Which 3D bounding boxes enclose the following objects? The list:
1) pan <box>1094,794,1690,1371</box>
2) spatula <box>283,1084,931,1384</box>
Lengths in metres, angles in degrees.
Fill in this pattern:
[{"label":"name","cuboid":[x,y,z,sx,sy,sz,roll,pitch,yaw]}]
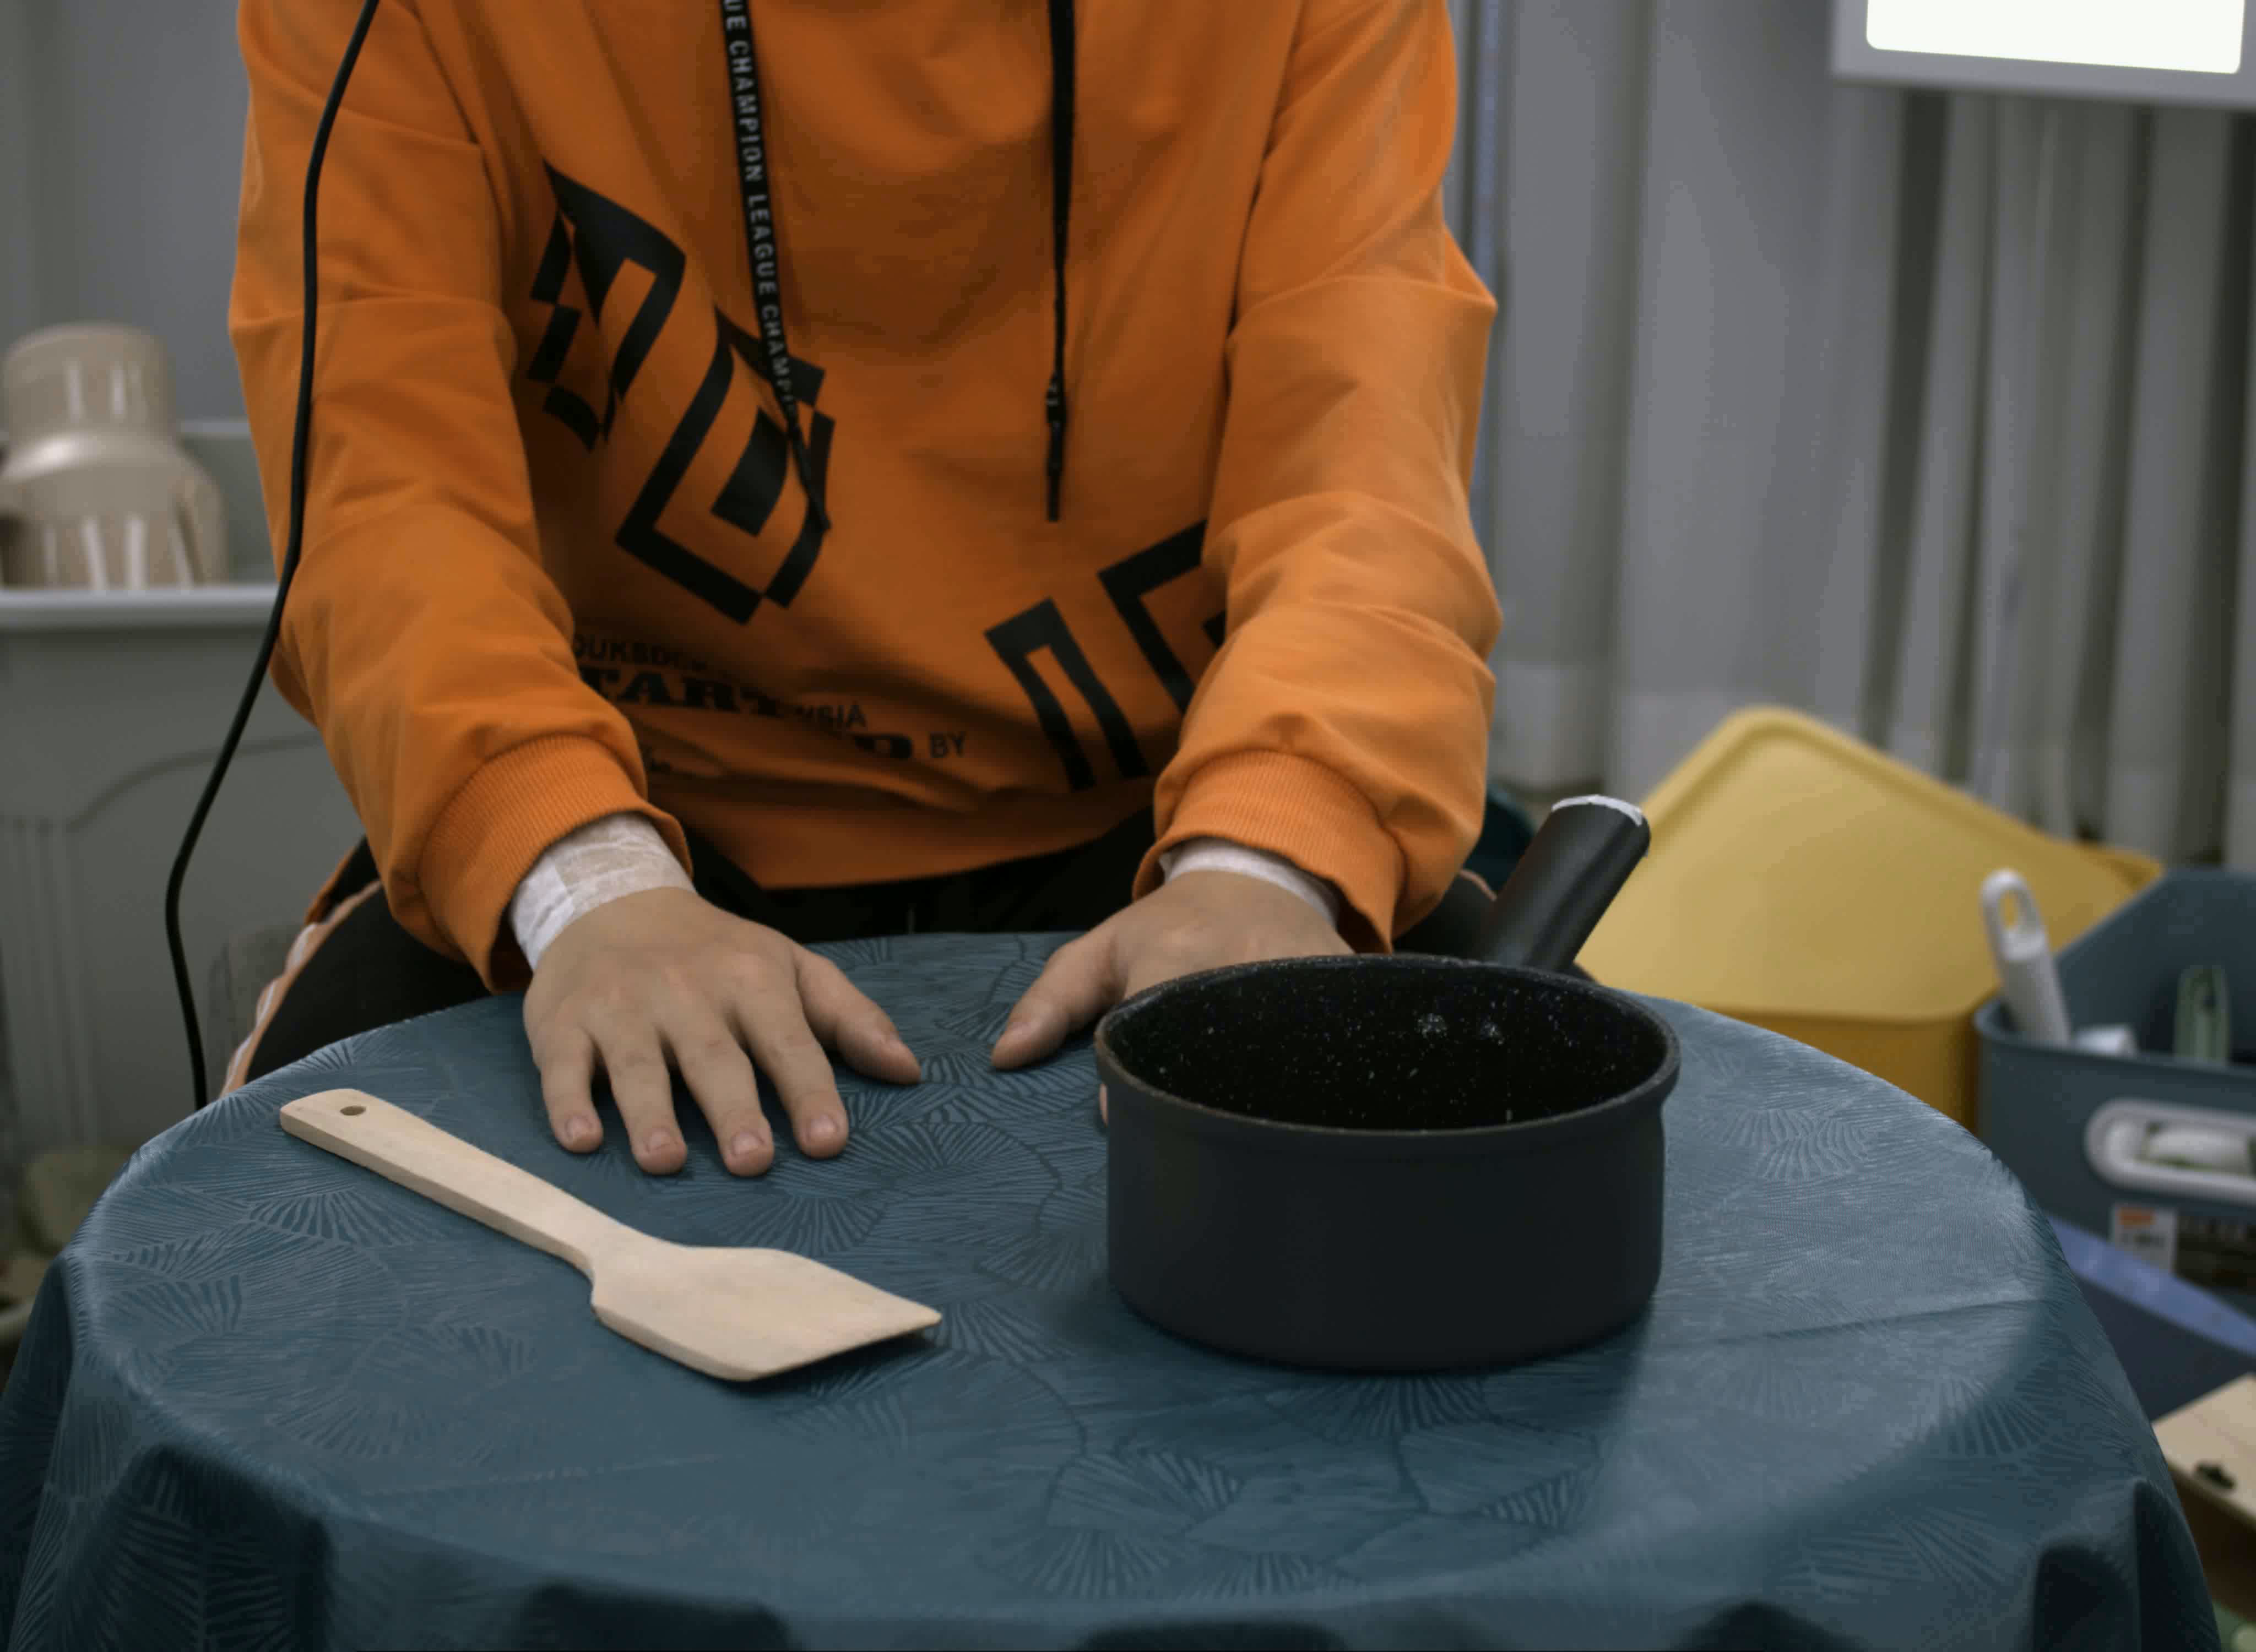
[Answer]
[{"label":"pan","cuboid":[0.105,0.074,1.607,0.170,0.087,0.329,7,19,21]},{"label":"spatula","cuboid":[-0.172,0.118,1.579,0.072,0.011,0.289,-16,22,-37]}]
